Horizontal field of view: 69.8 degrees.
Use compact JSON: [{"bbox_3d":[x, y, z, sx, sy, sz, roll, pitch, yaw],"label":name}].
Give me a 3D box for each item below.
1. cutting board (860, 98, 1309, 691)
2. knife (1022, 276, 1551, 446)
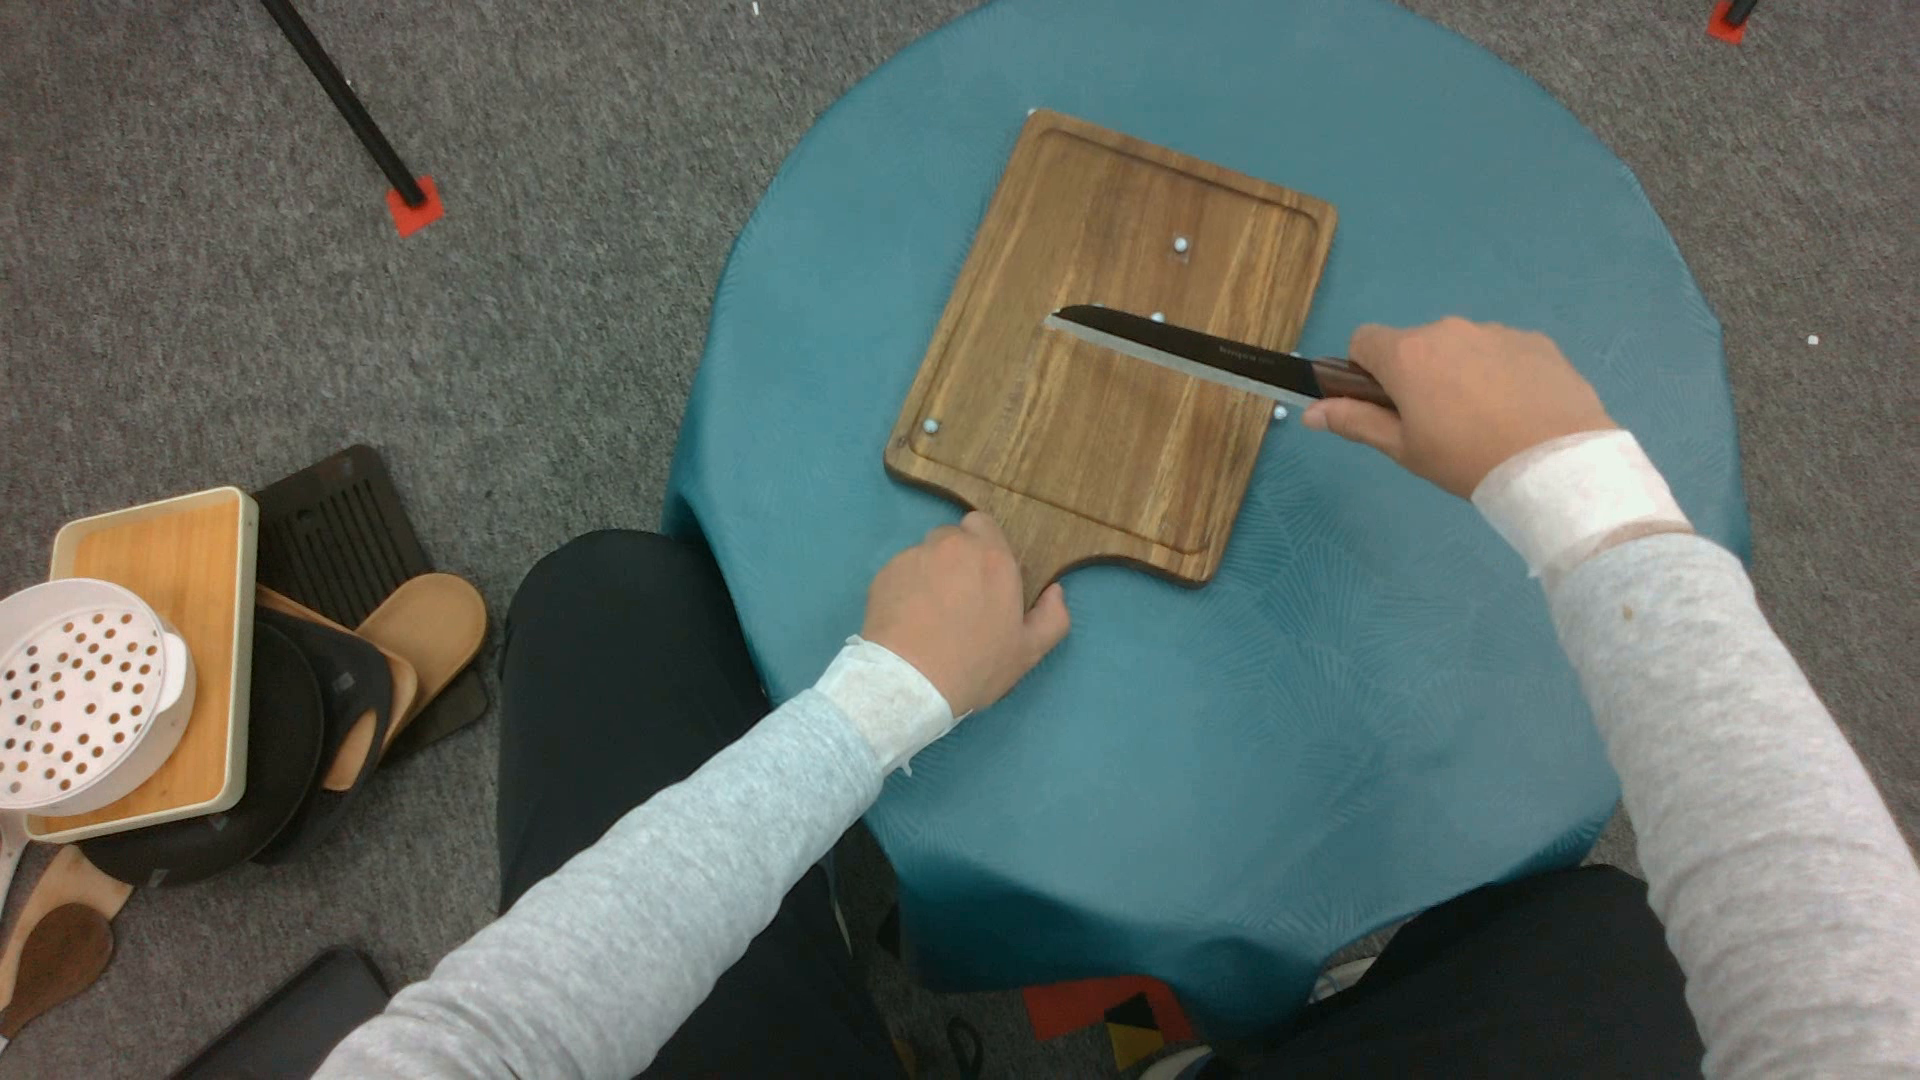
[{"bbox_3d":[0.059,-0.081,0.781,0.201,0.023,0.353,20,73,5],"label":"cutting board"},{"bbox_3d":[0.153,-0.096,0.707,0.289,0.050,0.020,20,66,29],"label":"knife"}]
